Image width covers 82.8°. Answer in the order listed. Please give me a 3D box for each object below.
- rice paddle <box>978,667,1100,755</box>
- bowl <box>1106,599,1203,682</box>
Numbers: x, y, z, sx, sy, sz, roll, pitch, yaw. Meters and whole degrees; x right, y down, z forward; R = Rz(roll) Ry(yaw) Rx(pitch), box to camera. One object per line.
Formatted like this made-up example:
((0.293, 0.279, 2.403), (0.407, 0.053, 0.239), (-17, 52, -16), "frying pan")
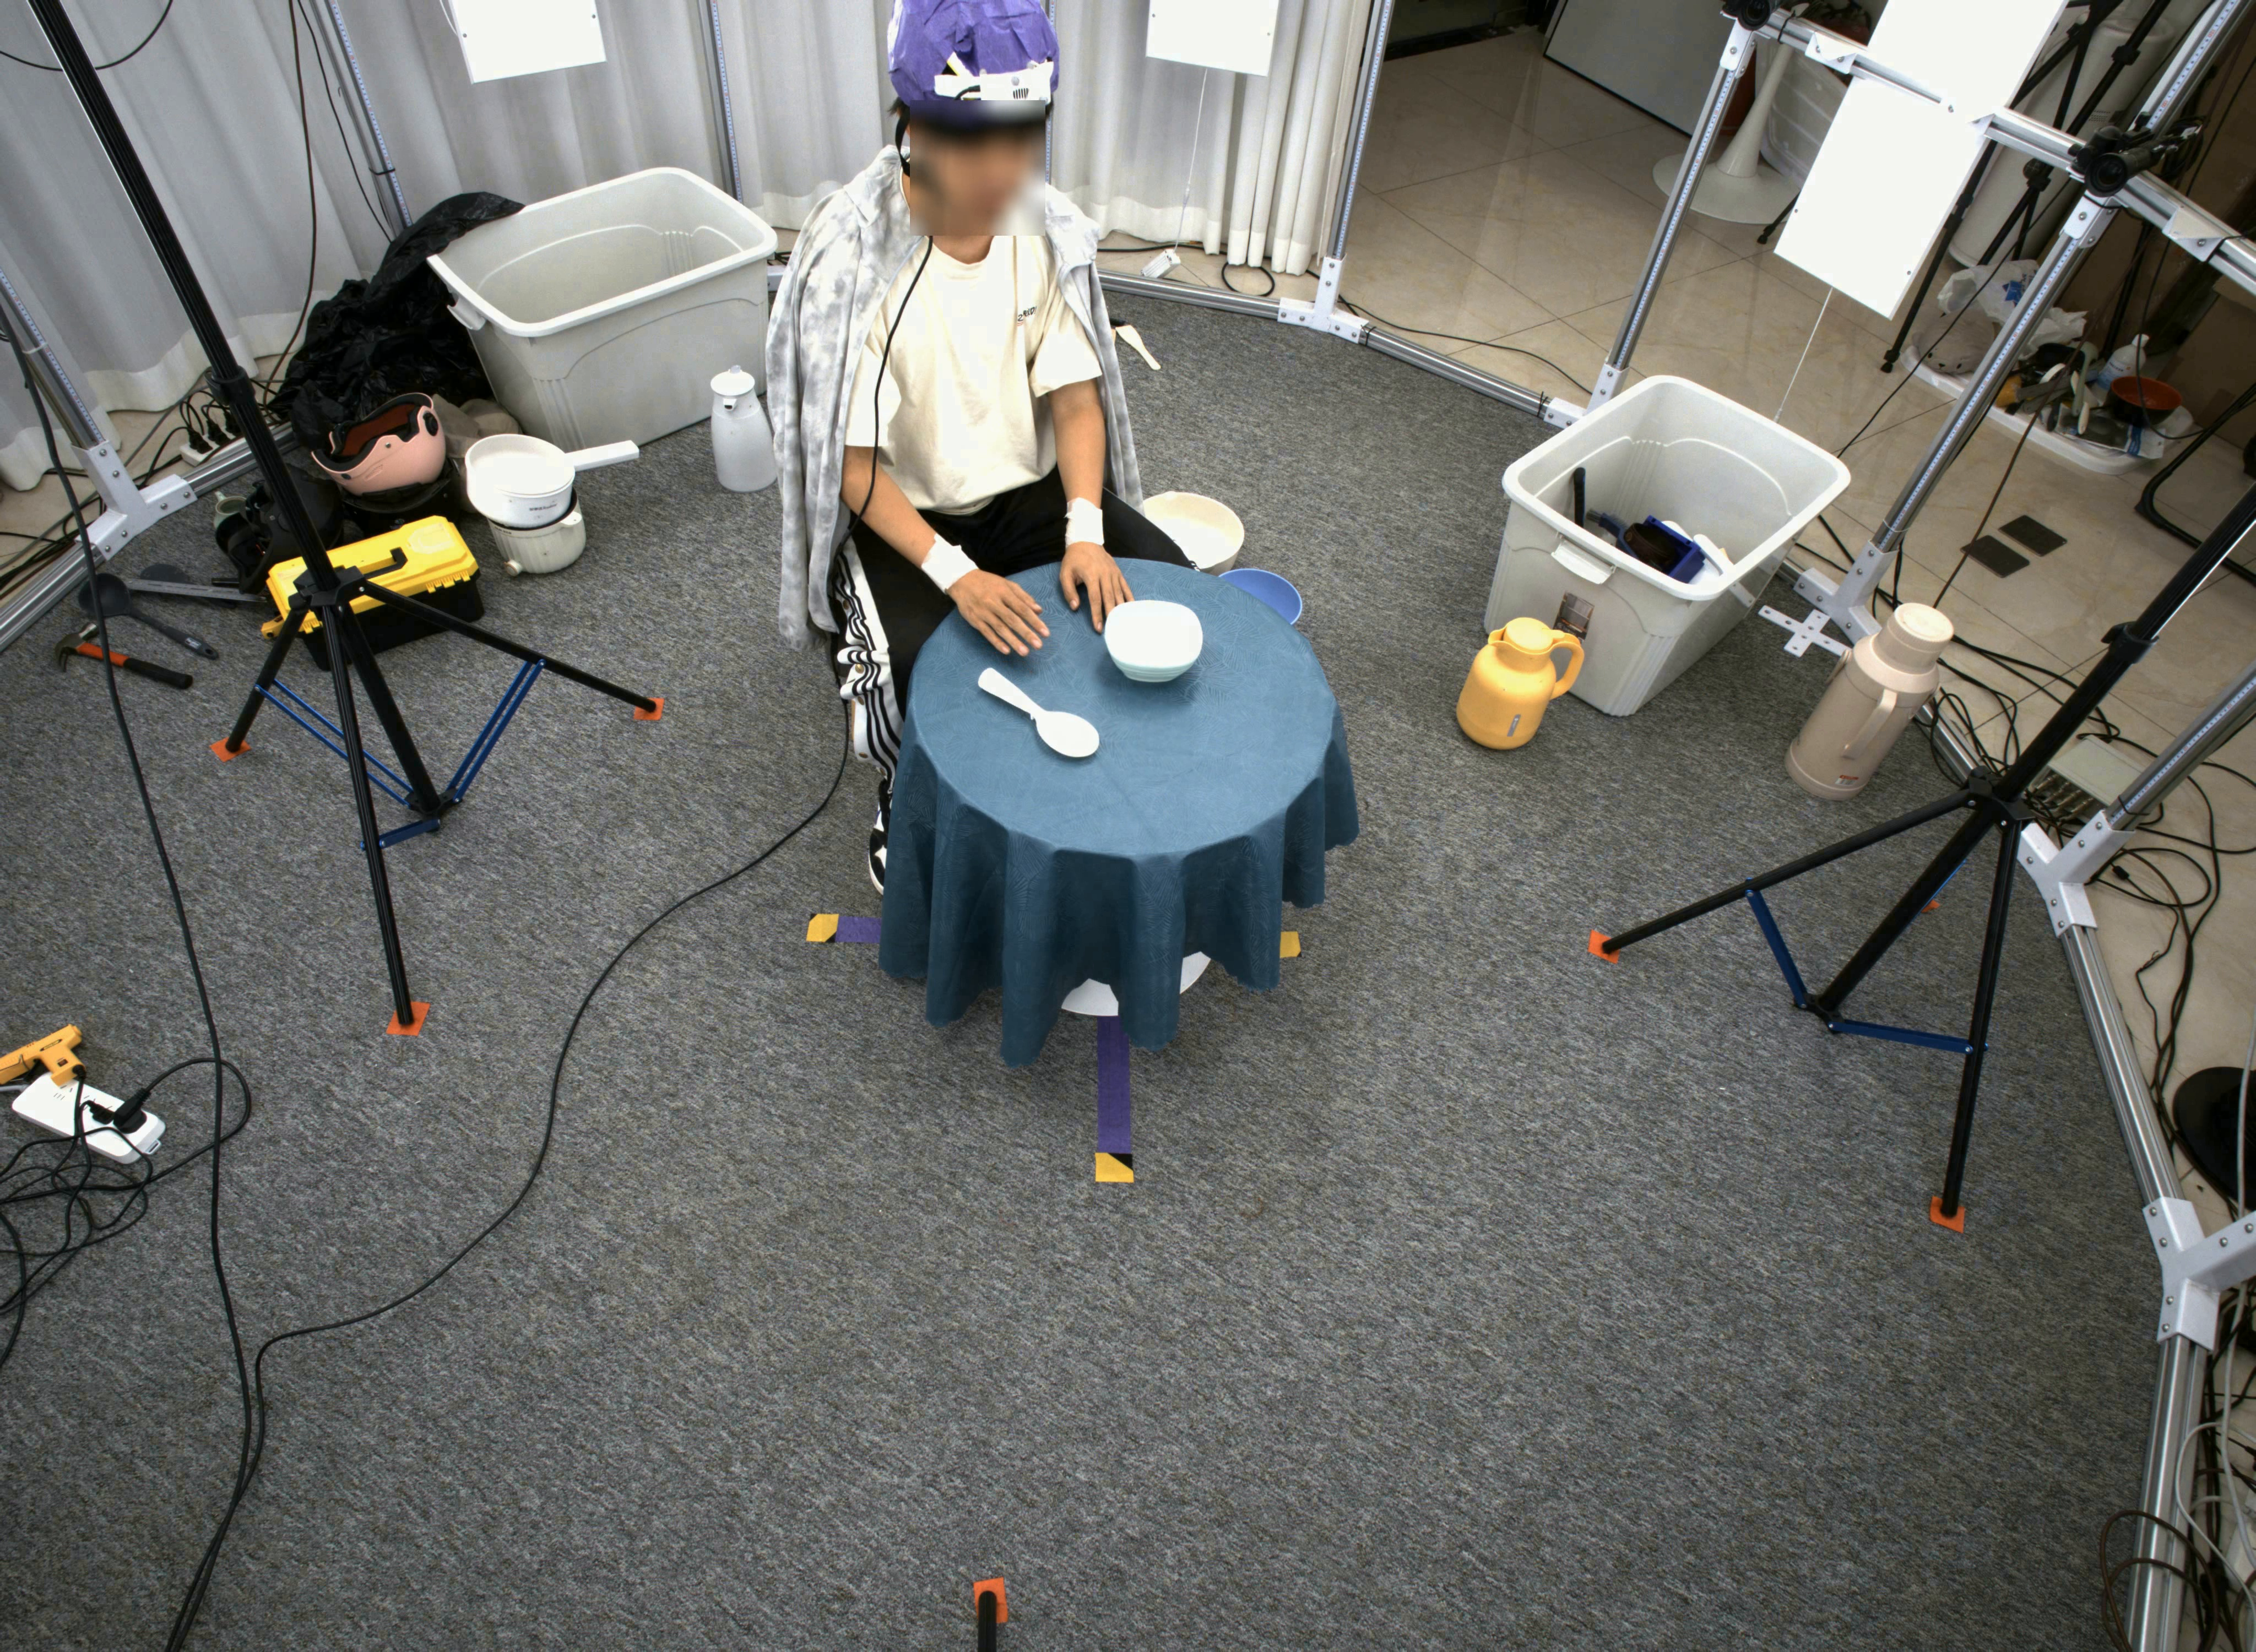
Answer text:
((-0.122, -0.158, 1.770), (0.208, 0.029, 0.069), (35, 57, 24), "rice paddle")
((0.038, -0.259, 1.850), (0.151, 0.057, 0.155), (0, 52, -1), "bowl")
